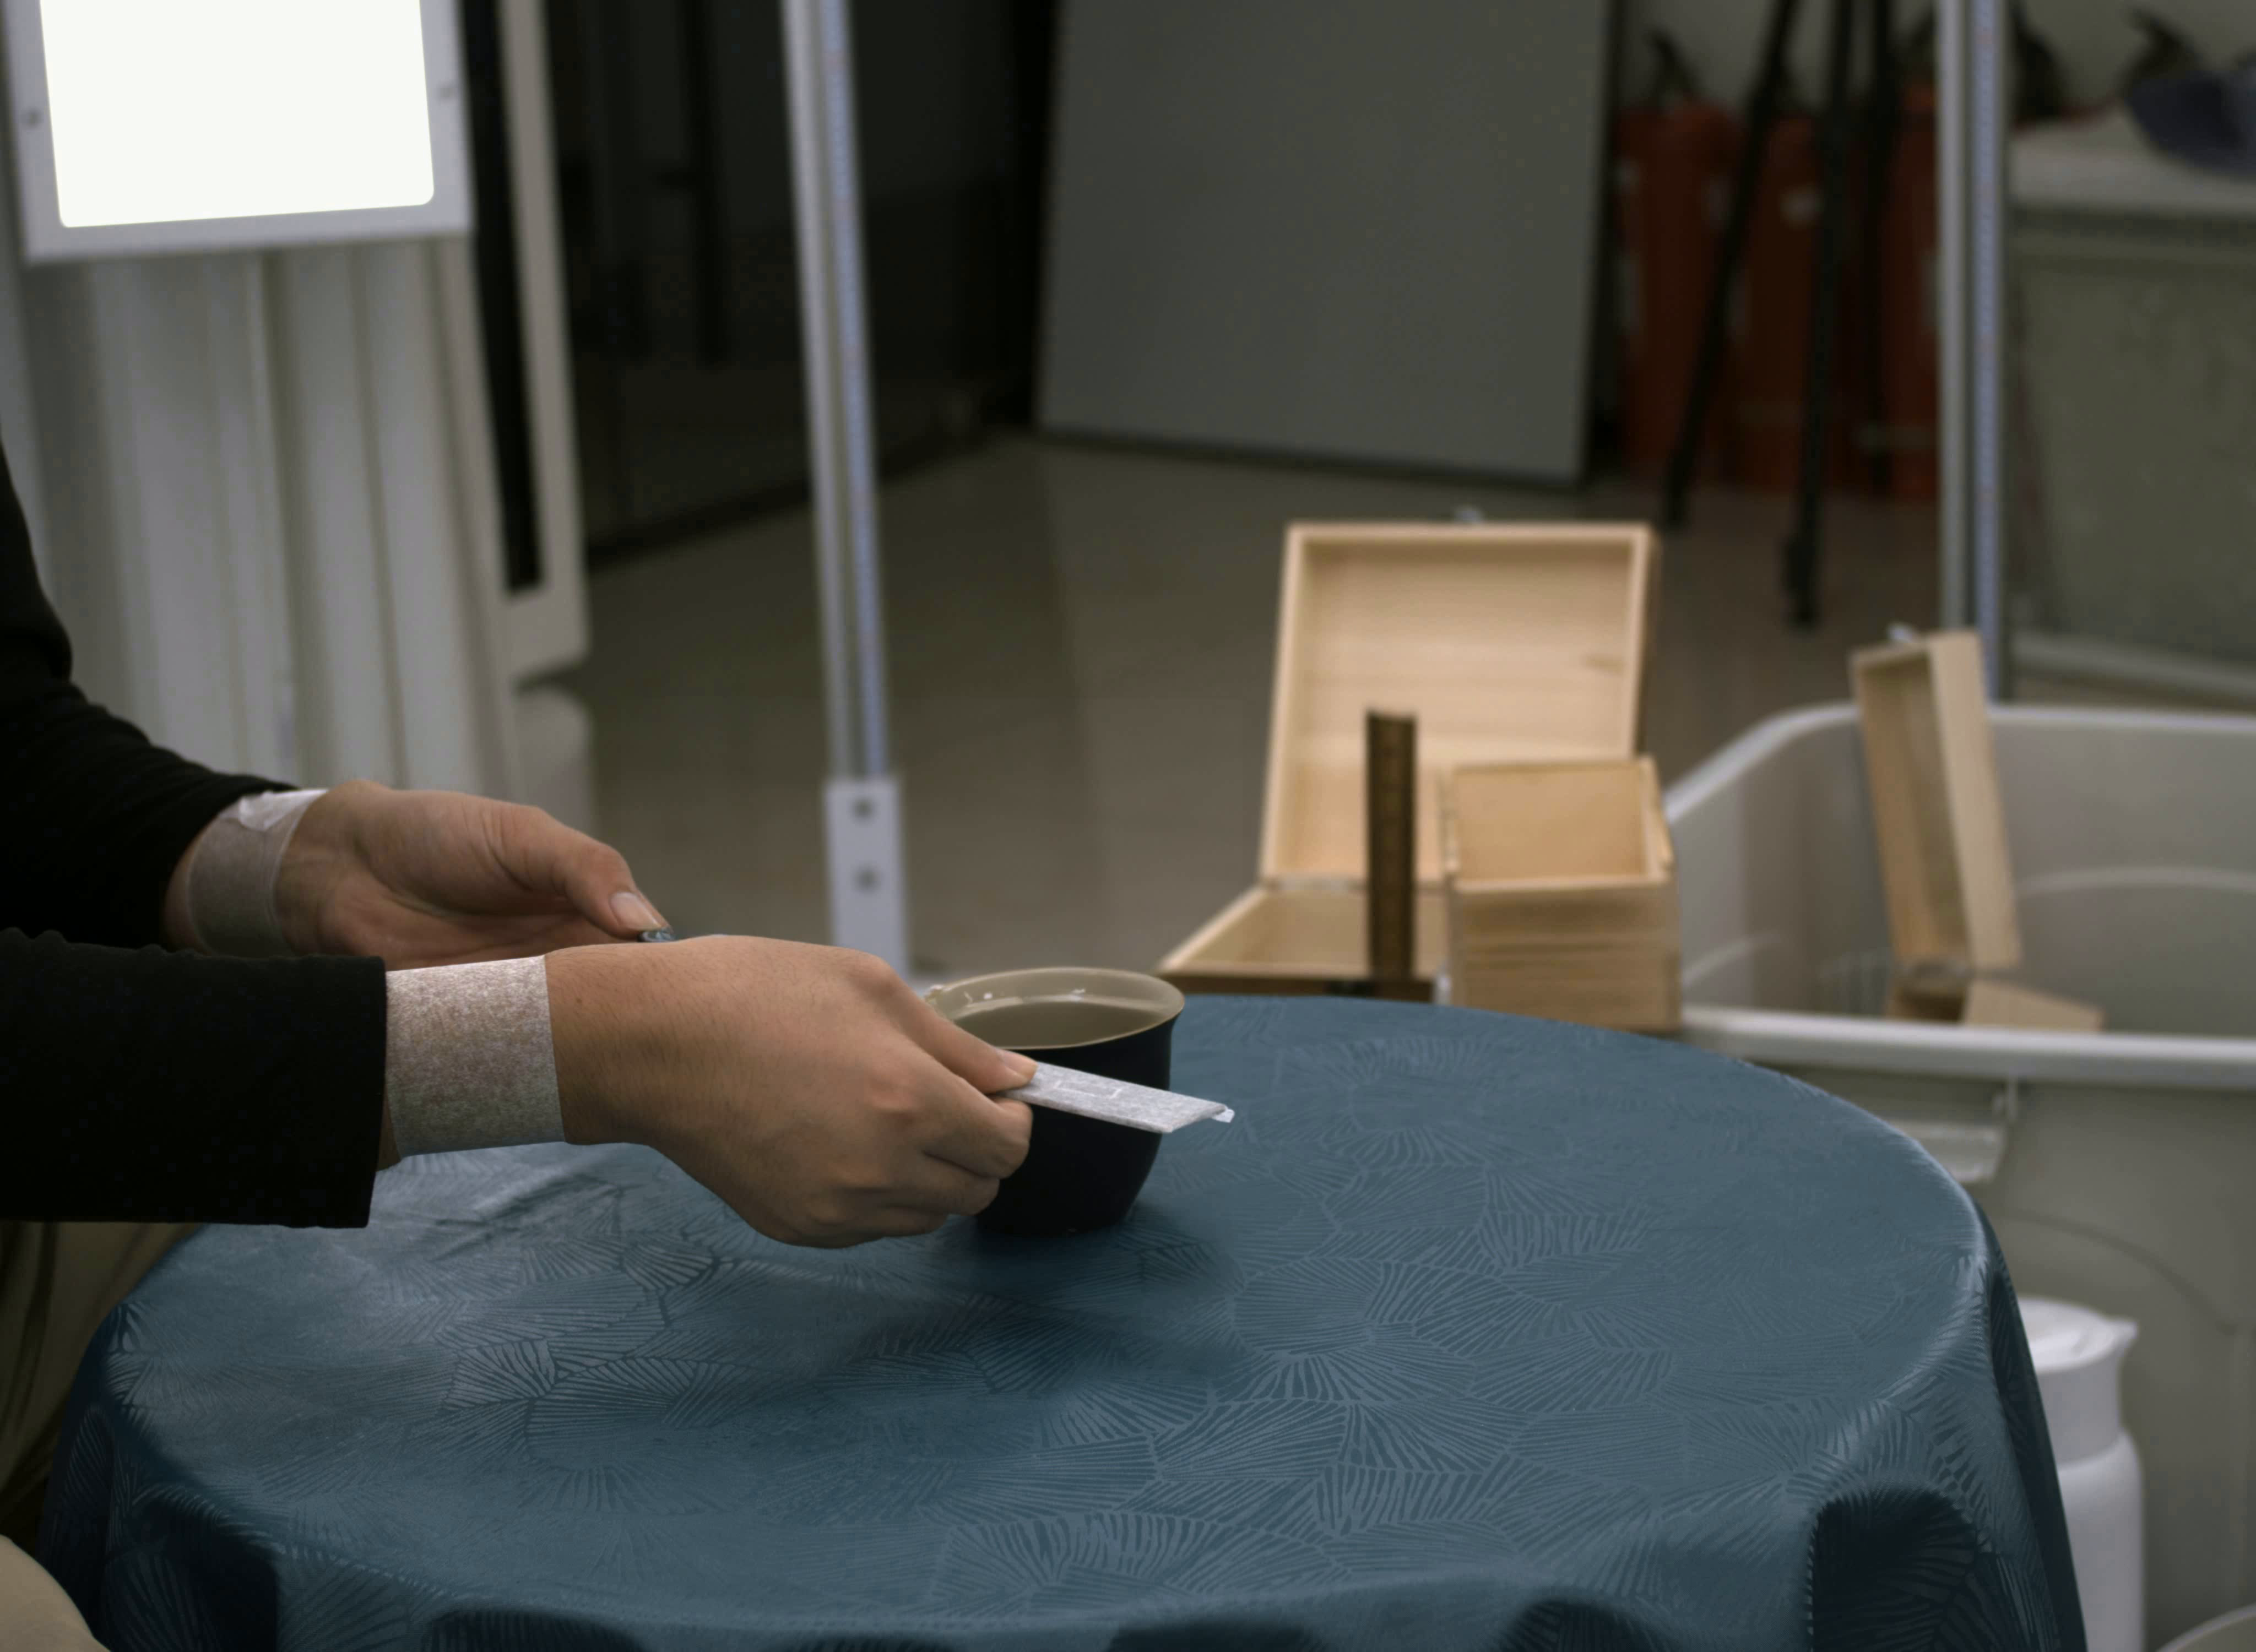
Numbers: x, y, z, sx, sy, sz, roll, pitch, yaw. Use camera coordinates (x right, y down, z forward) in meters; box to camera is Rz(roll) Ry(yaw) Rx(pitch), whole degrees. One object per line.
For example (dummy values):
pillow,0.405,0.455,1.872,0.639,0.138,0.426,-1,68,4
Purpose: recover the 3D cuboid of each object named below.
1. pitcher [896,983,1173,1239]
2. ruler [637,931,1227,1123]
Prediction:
pitcher,-0.031,0.091,1.746,0.096,0.072,0.082,5,17,29
ruler,-0.067,0.061,1.685,0.219,0.024,0.037,10,19,36
